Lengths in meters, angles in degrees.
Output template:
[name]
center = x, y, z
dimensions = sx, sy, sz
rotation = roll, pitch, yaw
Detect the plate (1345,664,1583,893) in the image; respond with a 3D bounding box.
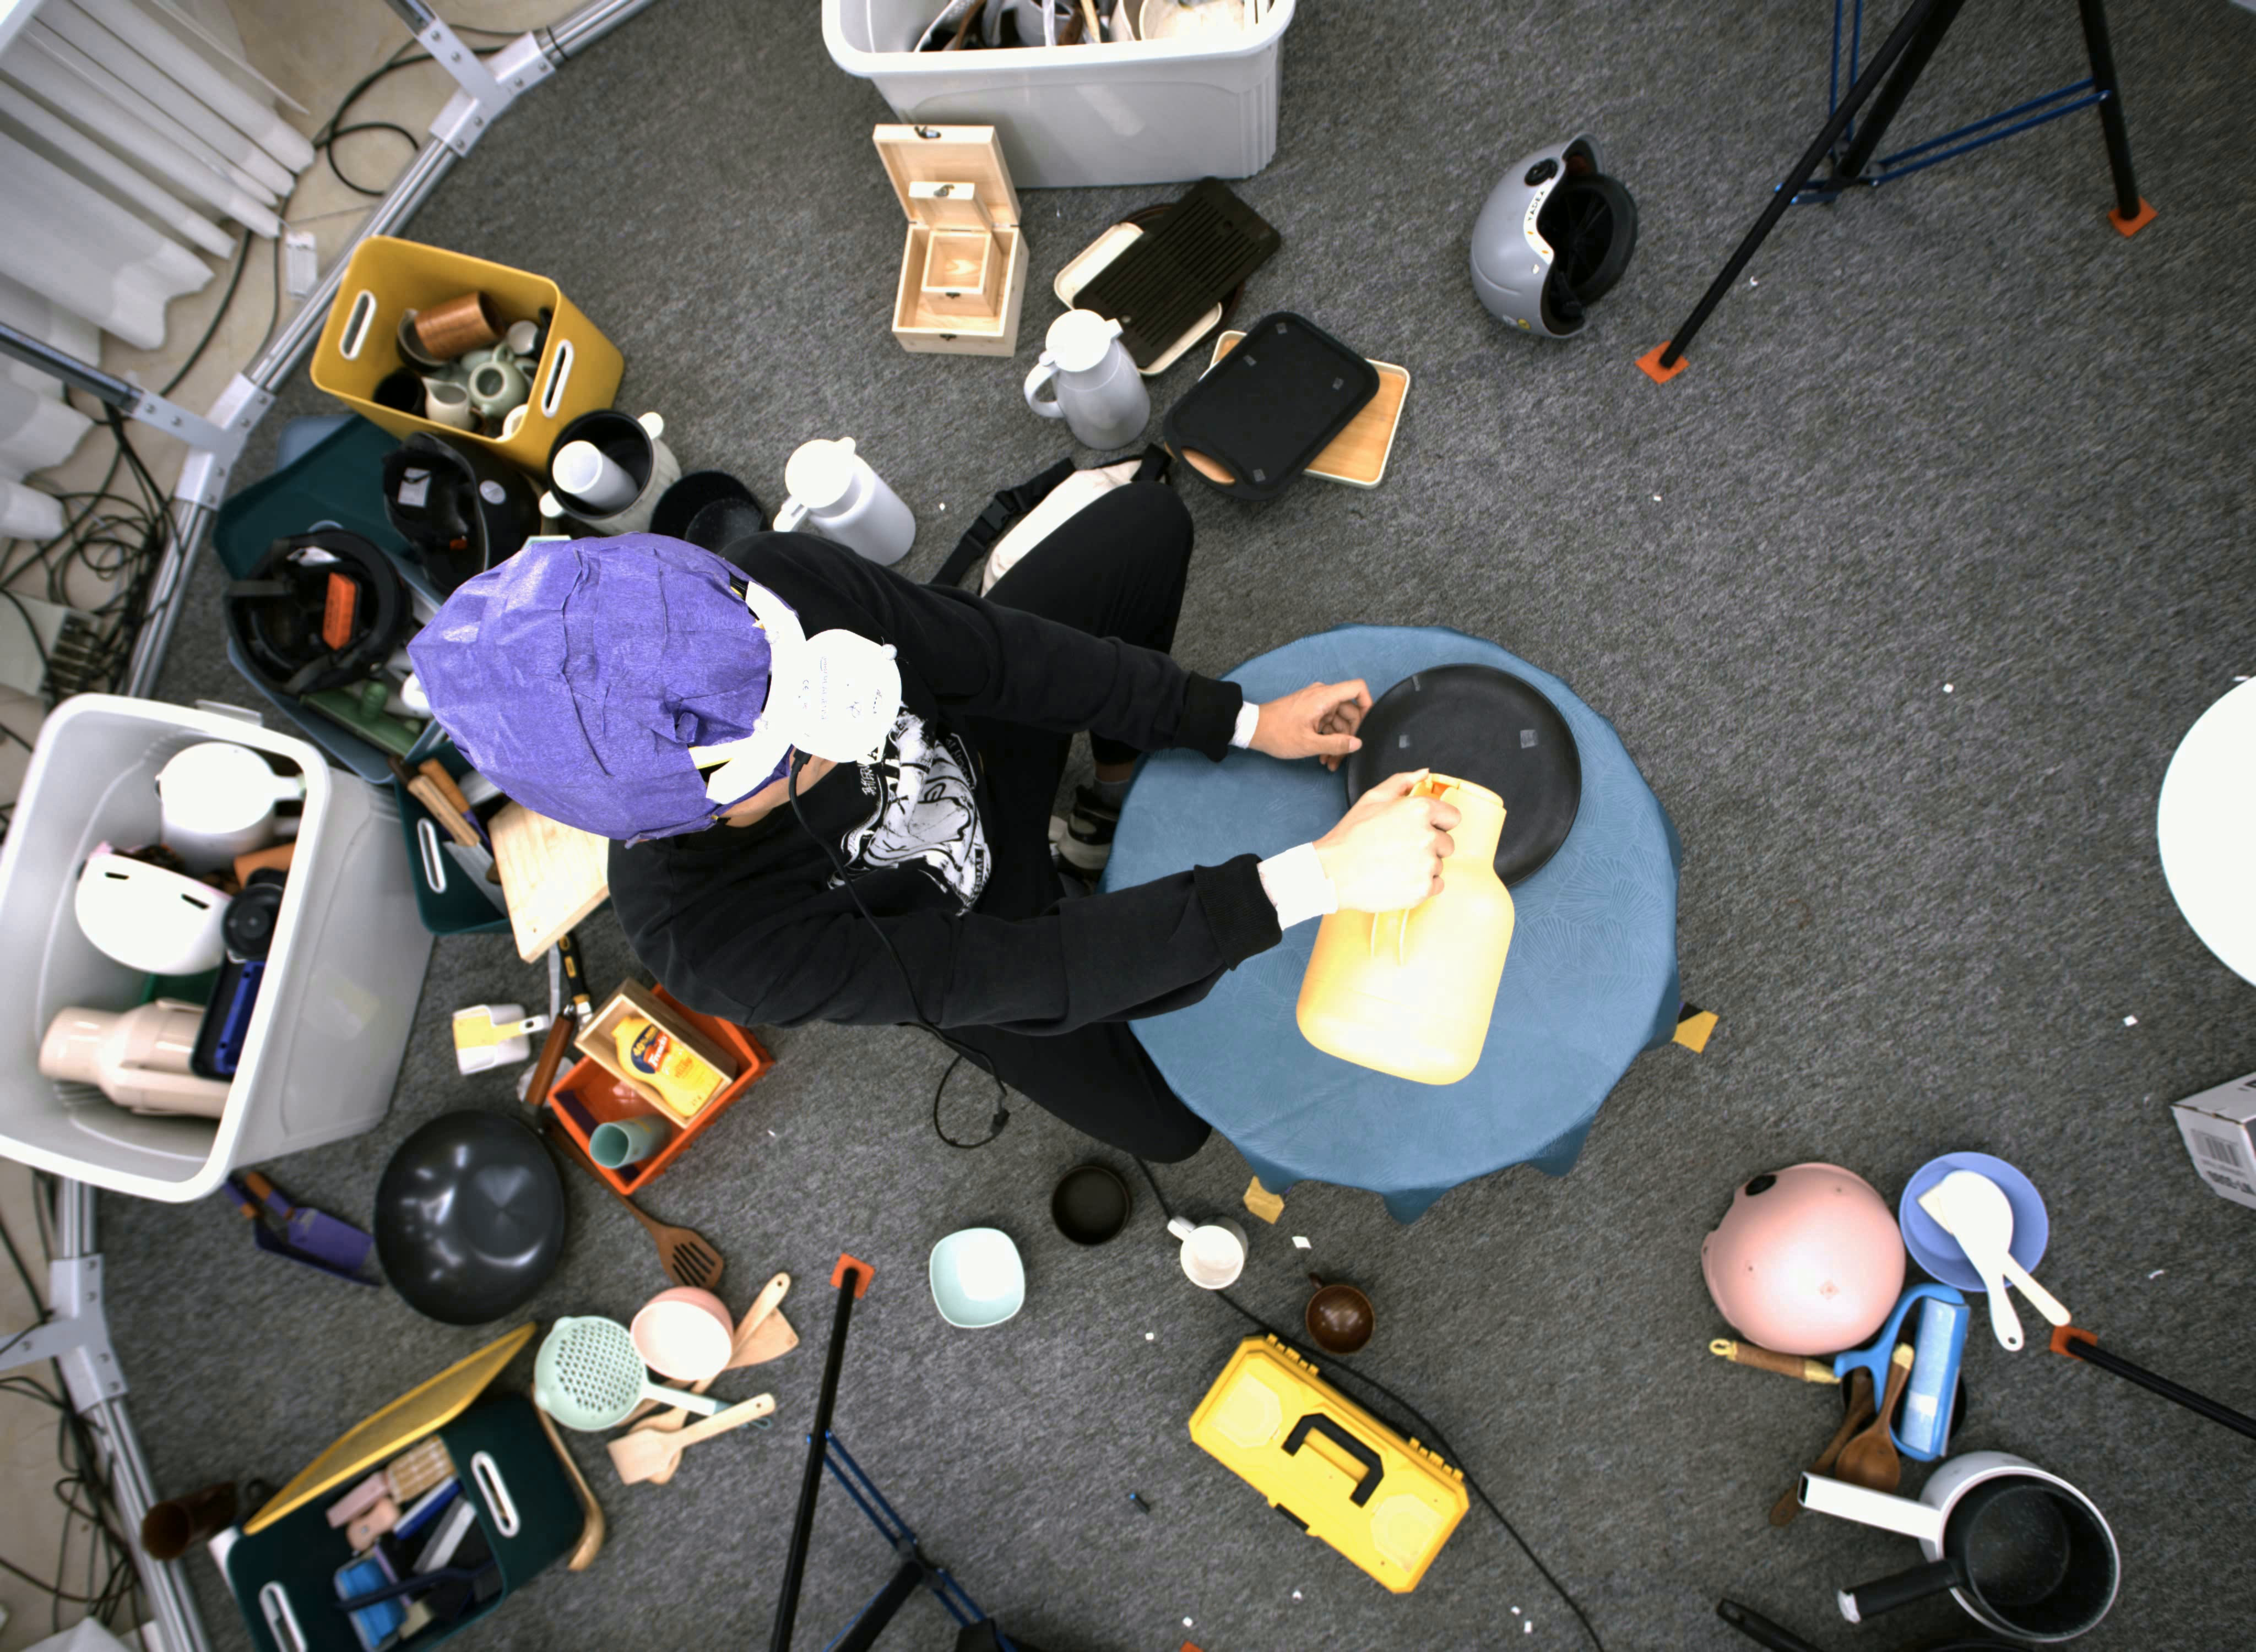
[plate]
center = 0.347, -0.048, 1.428
dimensions = 0.245, 0.023, 0.244
rotation = 0, 92, 5

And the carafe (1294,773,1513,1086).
[carafe]
center = 0.241, 0.081, 1.186
dimensions = 0.163, 0.203, 0.259
rotation = 14, 87, 27
